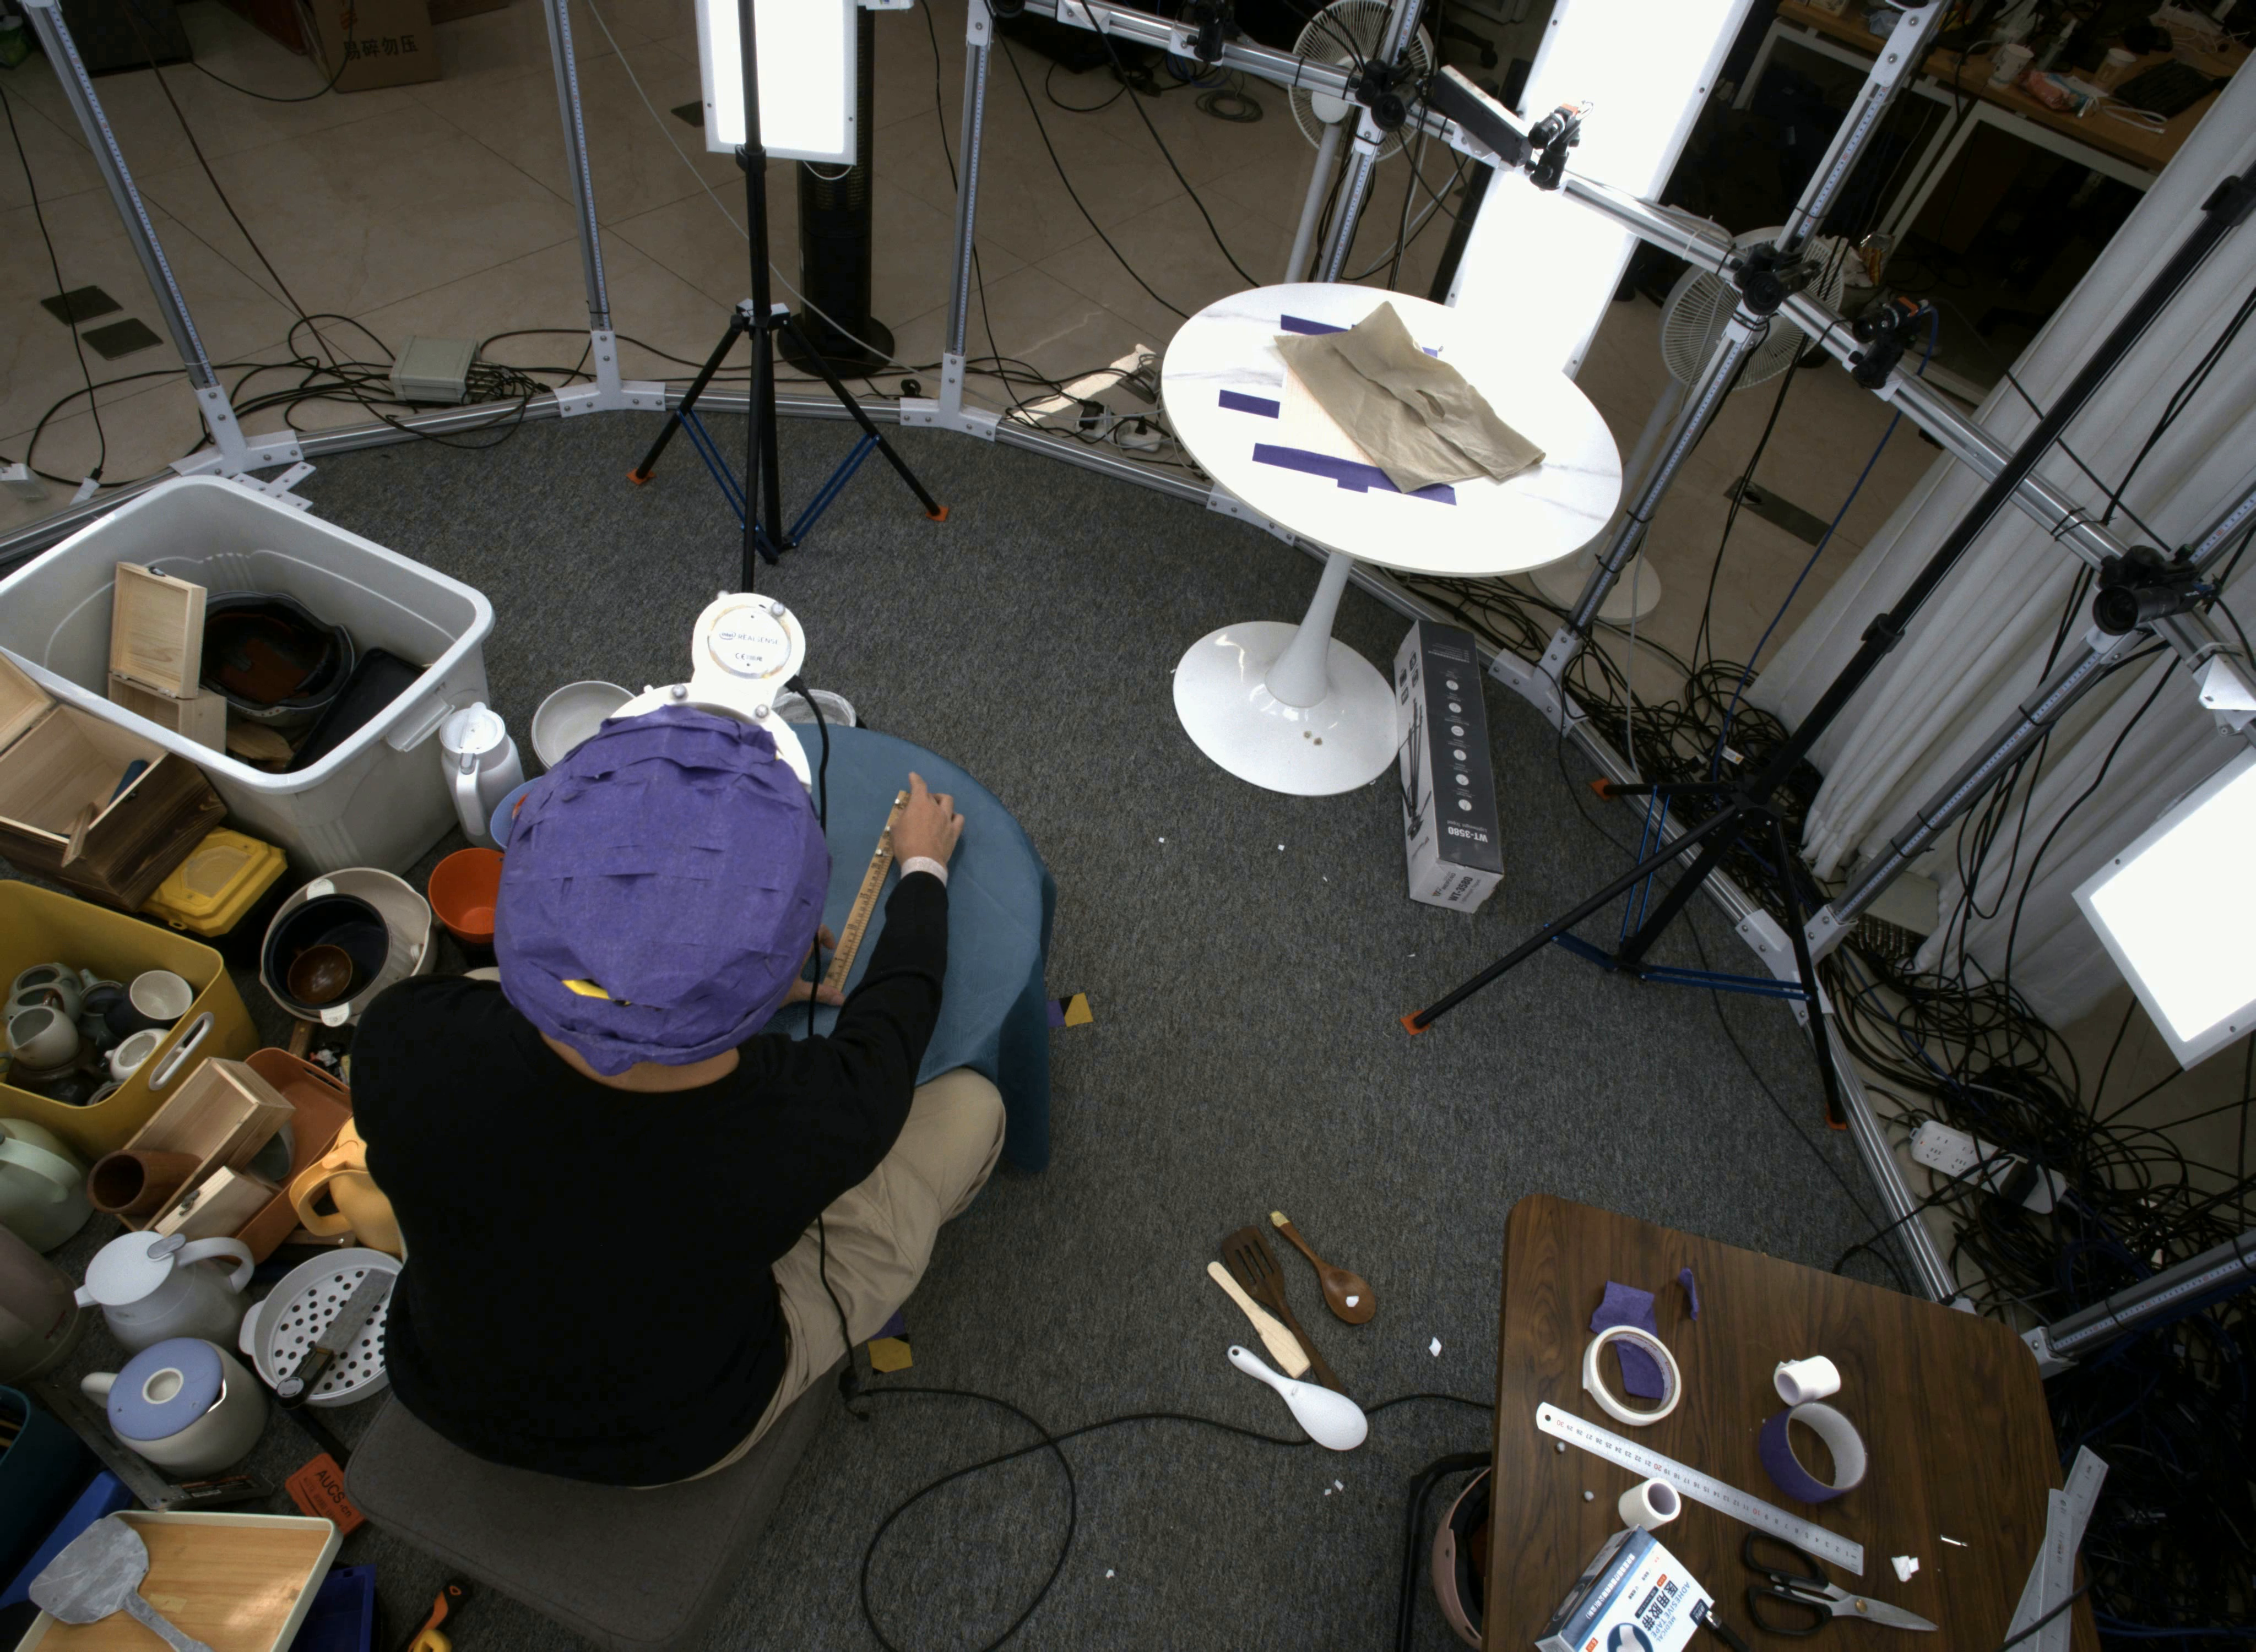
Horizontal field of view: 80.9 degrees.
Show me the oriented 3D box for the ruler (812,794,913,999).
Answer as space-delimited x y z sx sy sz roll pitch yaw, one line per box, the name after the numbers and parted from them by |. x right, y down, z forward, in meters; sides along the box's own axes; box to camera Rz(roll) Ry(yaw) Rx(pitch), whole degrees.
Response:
-0.339 0.079 1.676 0.027 0.023 0.327 13 51 2 | ruler

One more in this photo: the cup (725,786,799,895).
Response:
-0.464 0.028 1.622 0.088 0.107 0.122 15 52 -3 | cup
